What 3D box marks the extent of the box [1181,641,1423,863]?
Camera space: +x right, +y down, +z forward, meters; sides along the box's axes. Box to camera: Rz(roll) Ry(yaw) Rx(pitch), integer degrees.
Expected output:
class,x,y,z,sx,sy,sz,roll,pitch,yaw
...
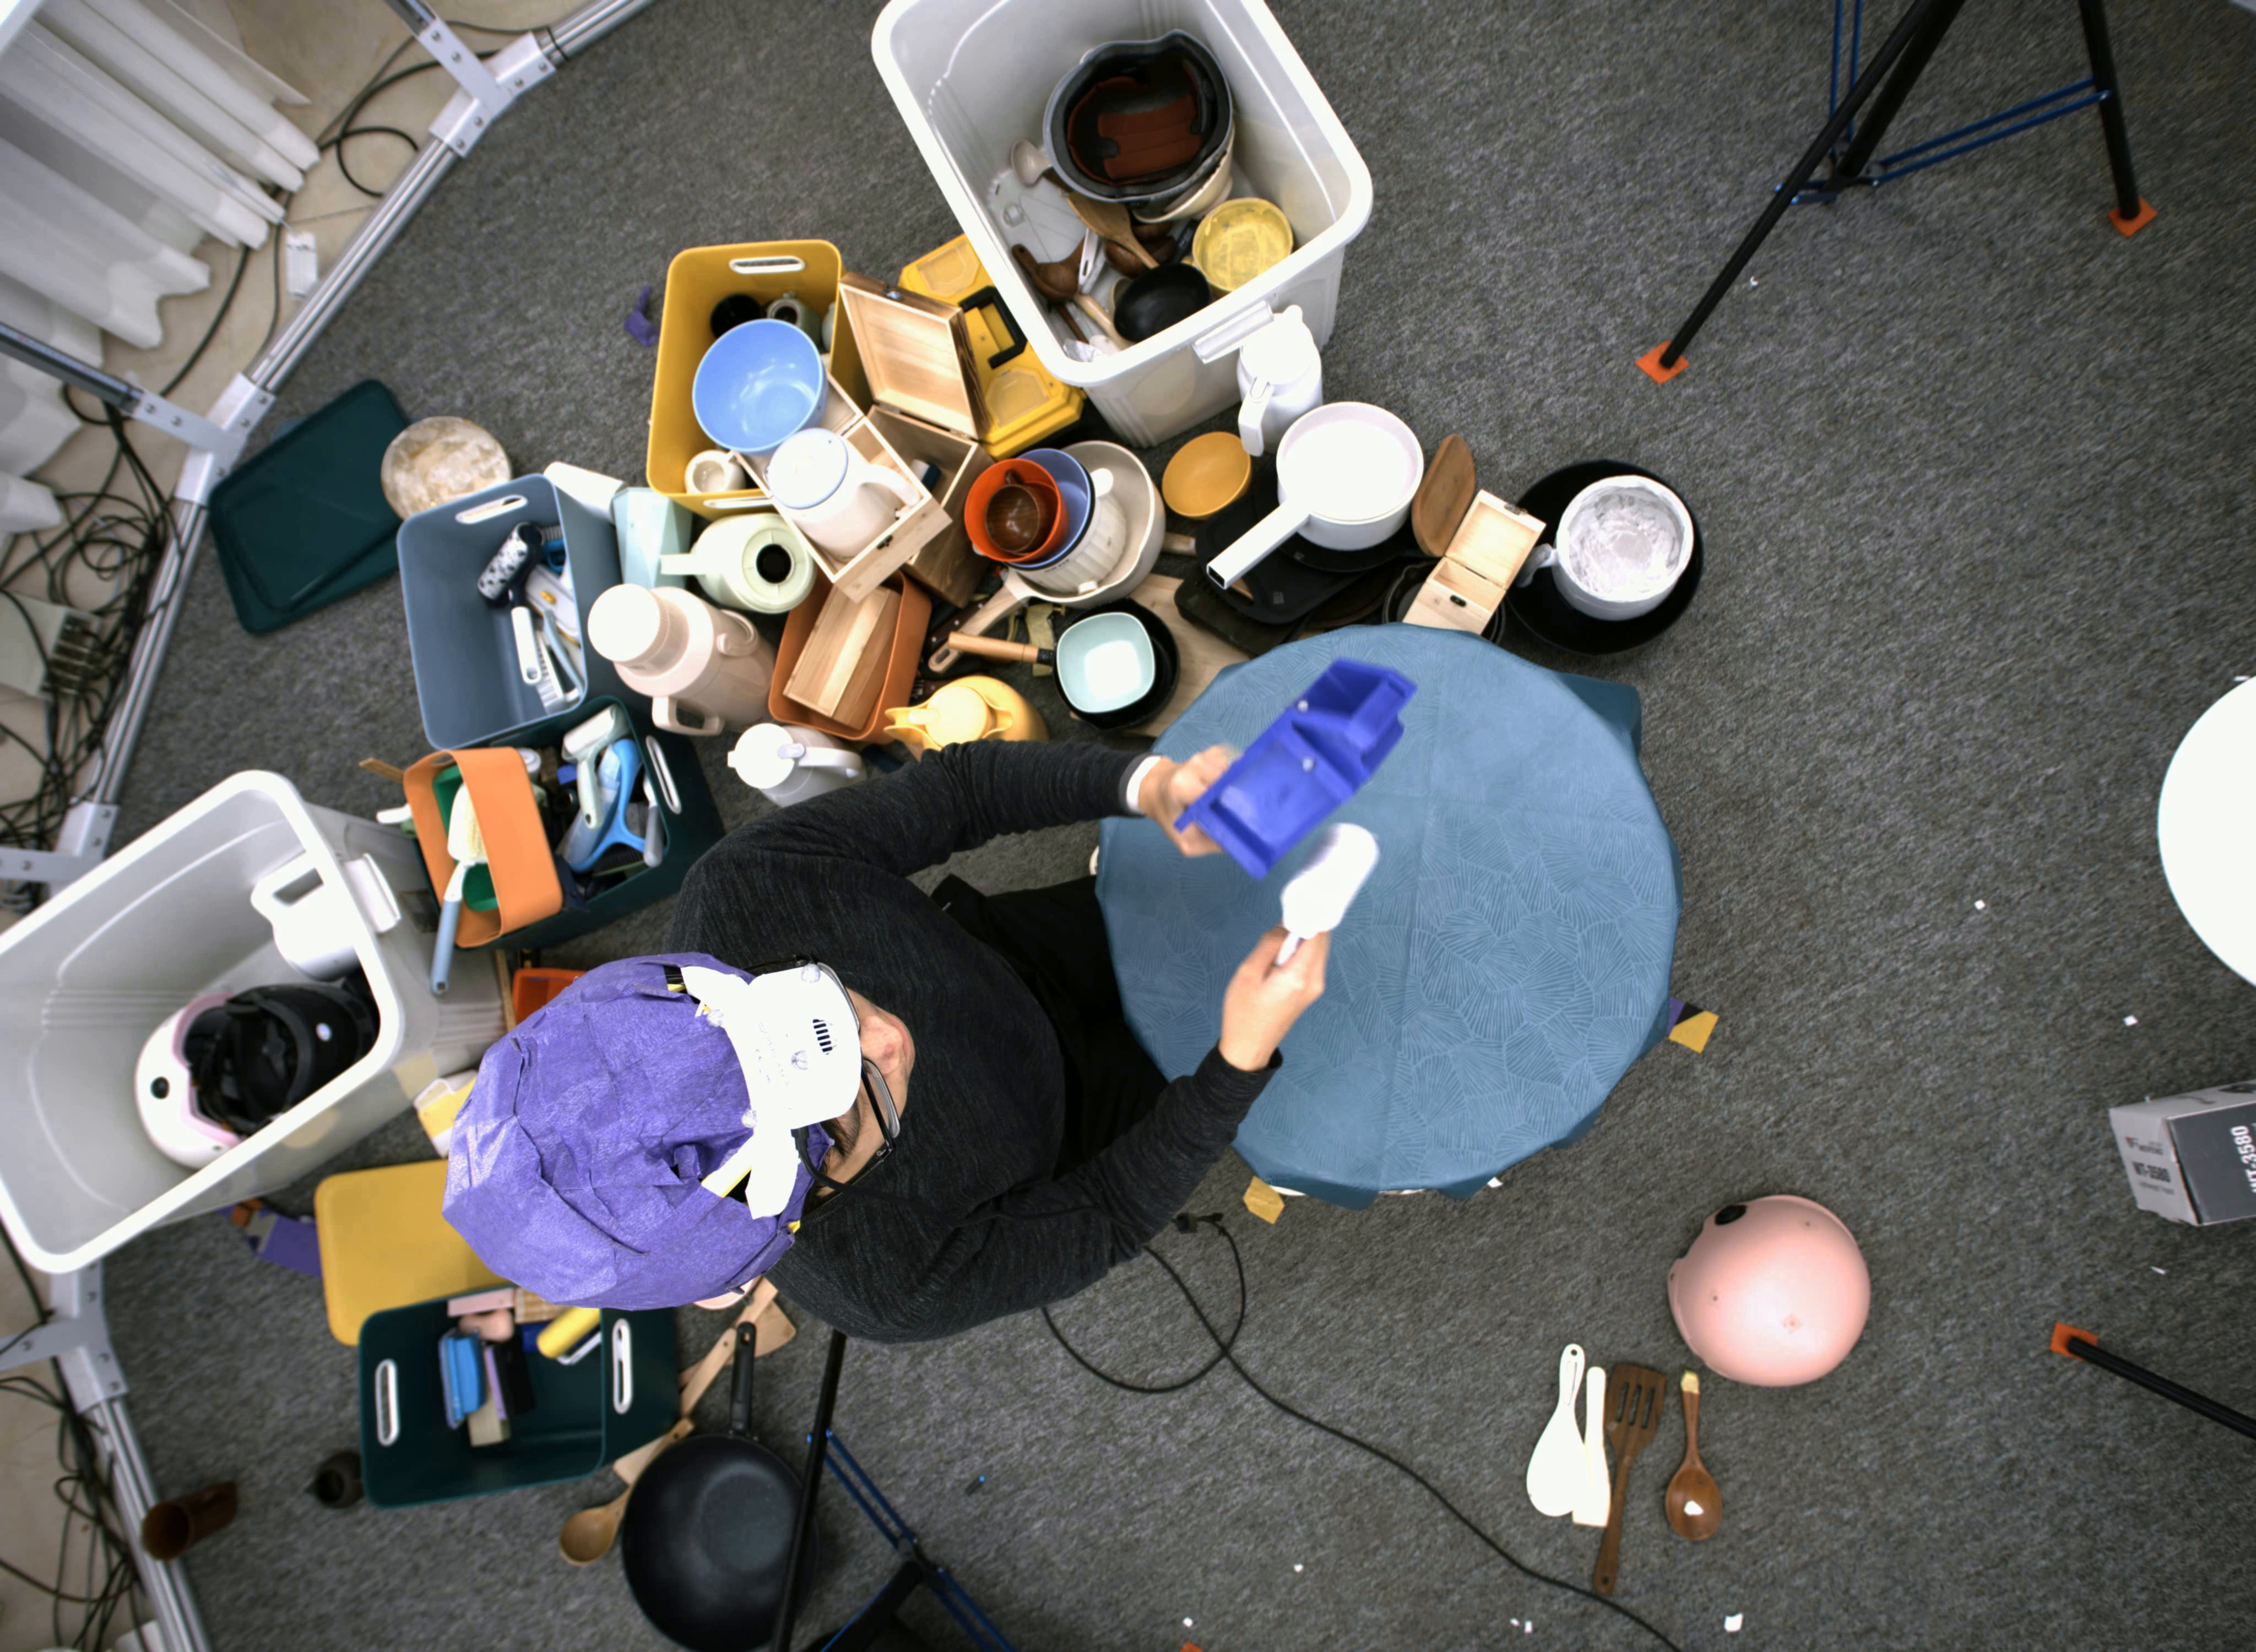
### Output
class,x,y,z,sx,sy,sz,roll,pitch,yaw
box,0.144,-0.063,1.086,0.082,0.121,0.184,43,130,3

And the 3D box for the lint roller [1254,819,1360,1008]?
class,x,y,z,sx,sy,sz,roll,pitch,yaw
lint roller,0.146,0.091,1.177,0.050,0.130,0.185,19,124,15
